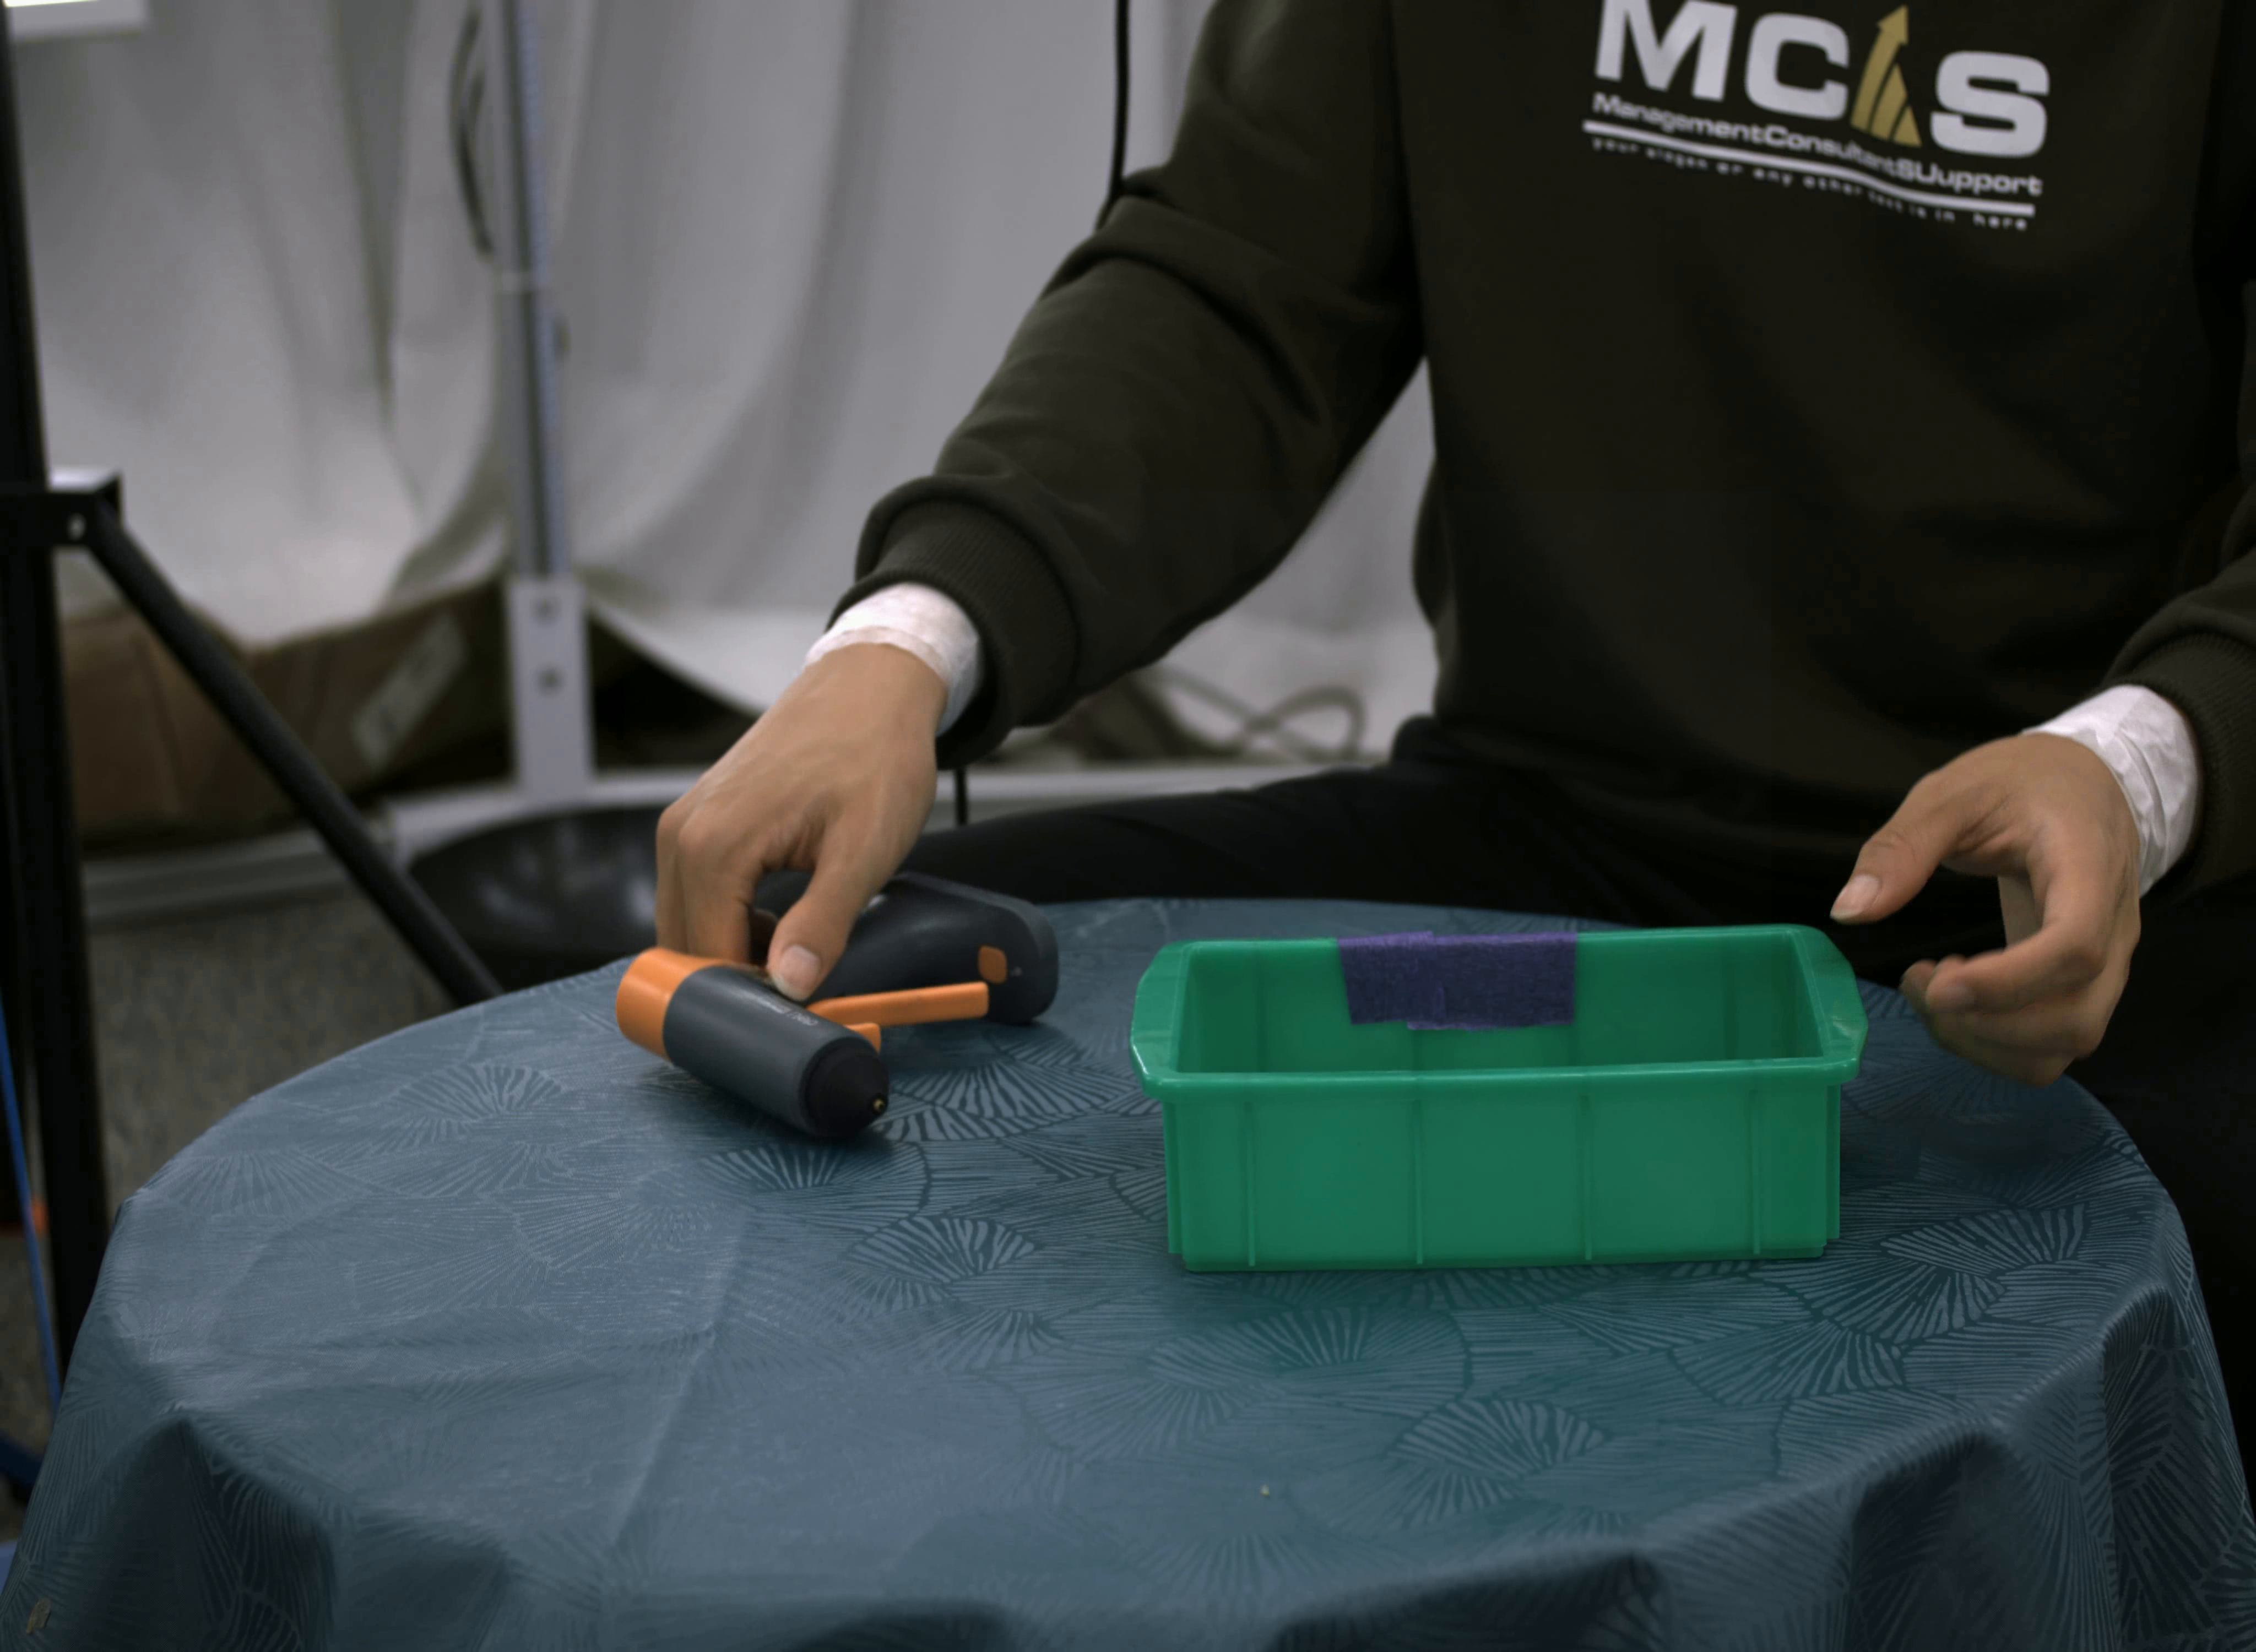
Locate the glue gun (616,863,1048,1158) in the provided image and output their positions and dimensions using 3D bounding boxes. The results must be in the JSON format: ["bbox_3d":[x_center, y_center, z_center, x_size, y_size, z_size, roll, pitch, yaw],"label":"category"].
[{"bbox_3d":[-0.088,0.059,1.677,0.120,0.041,0.137,22,27,29],"label":"glue gun"}]

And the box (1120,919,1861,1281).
[{"bbox_3d":[0.104,0.080,1.528,0.210,0.065,0.139,-3,14,4],"label":"box"}]
